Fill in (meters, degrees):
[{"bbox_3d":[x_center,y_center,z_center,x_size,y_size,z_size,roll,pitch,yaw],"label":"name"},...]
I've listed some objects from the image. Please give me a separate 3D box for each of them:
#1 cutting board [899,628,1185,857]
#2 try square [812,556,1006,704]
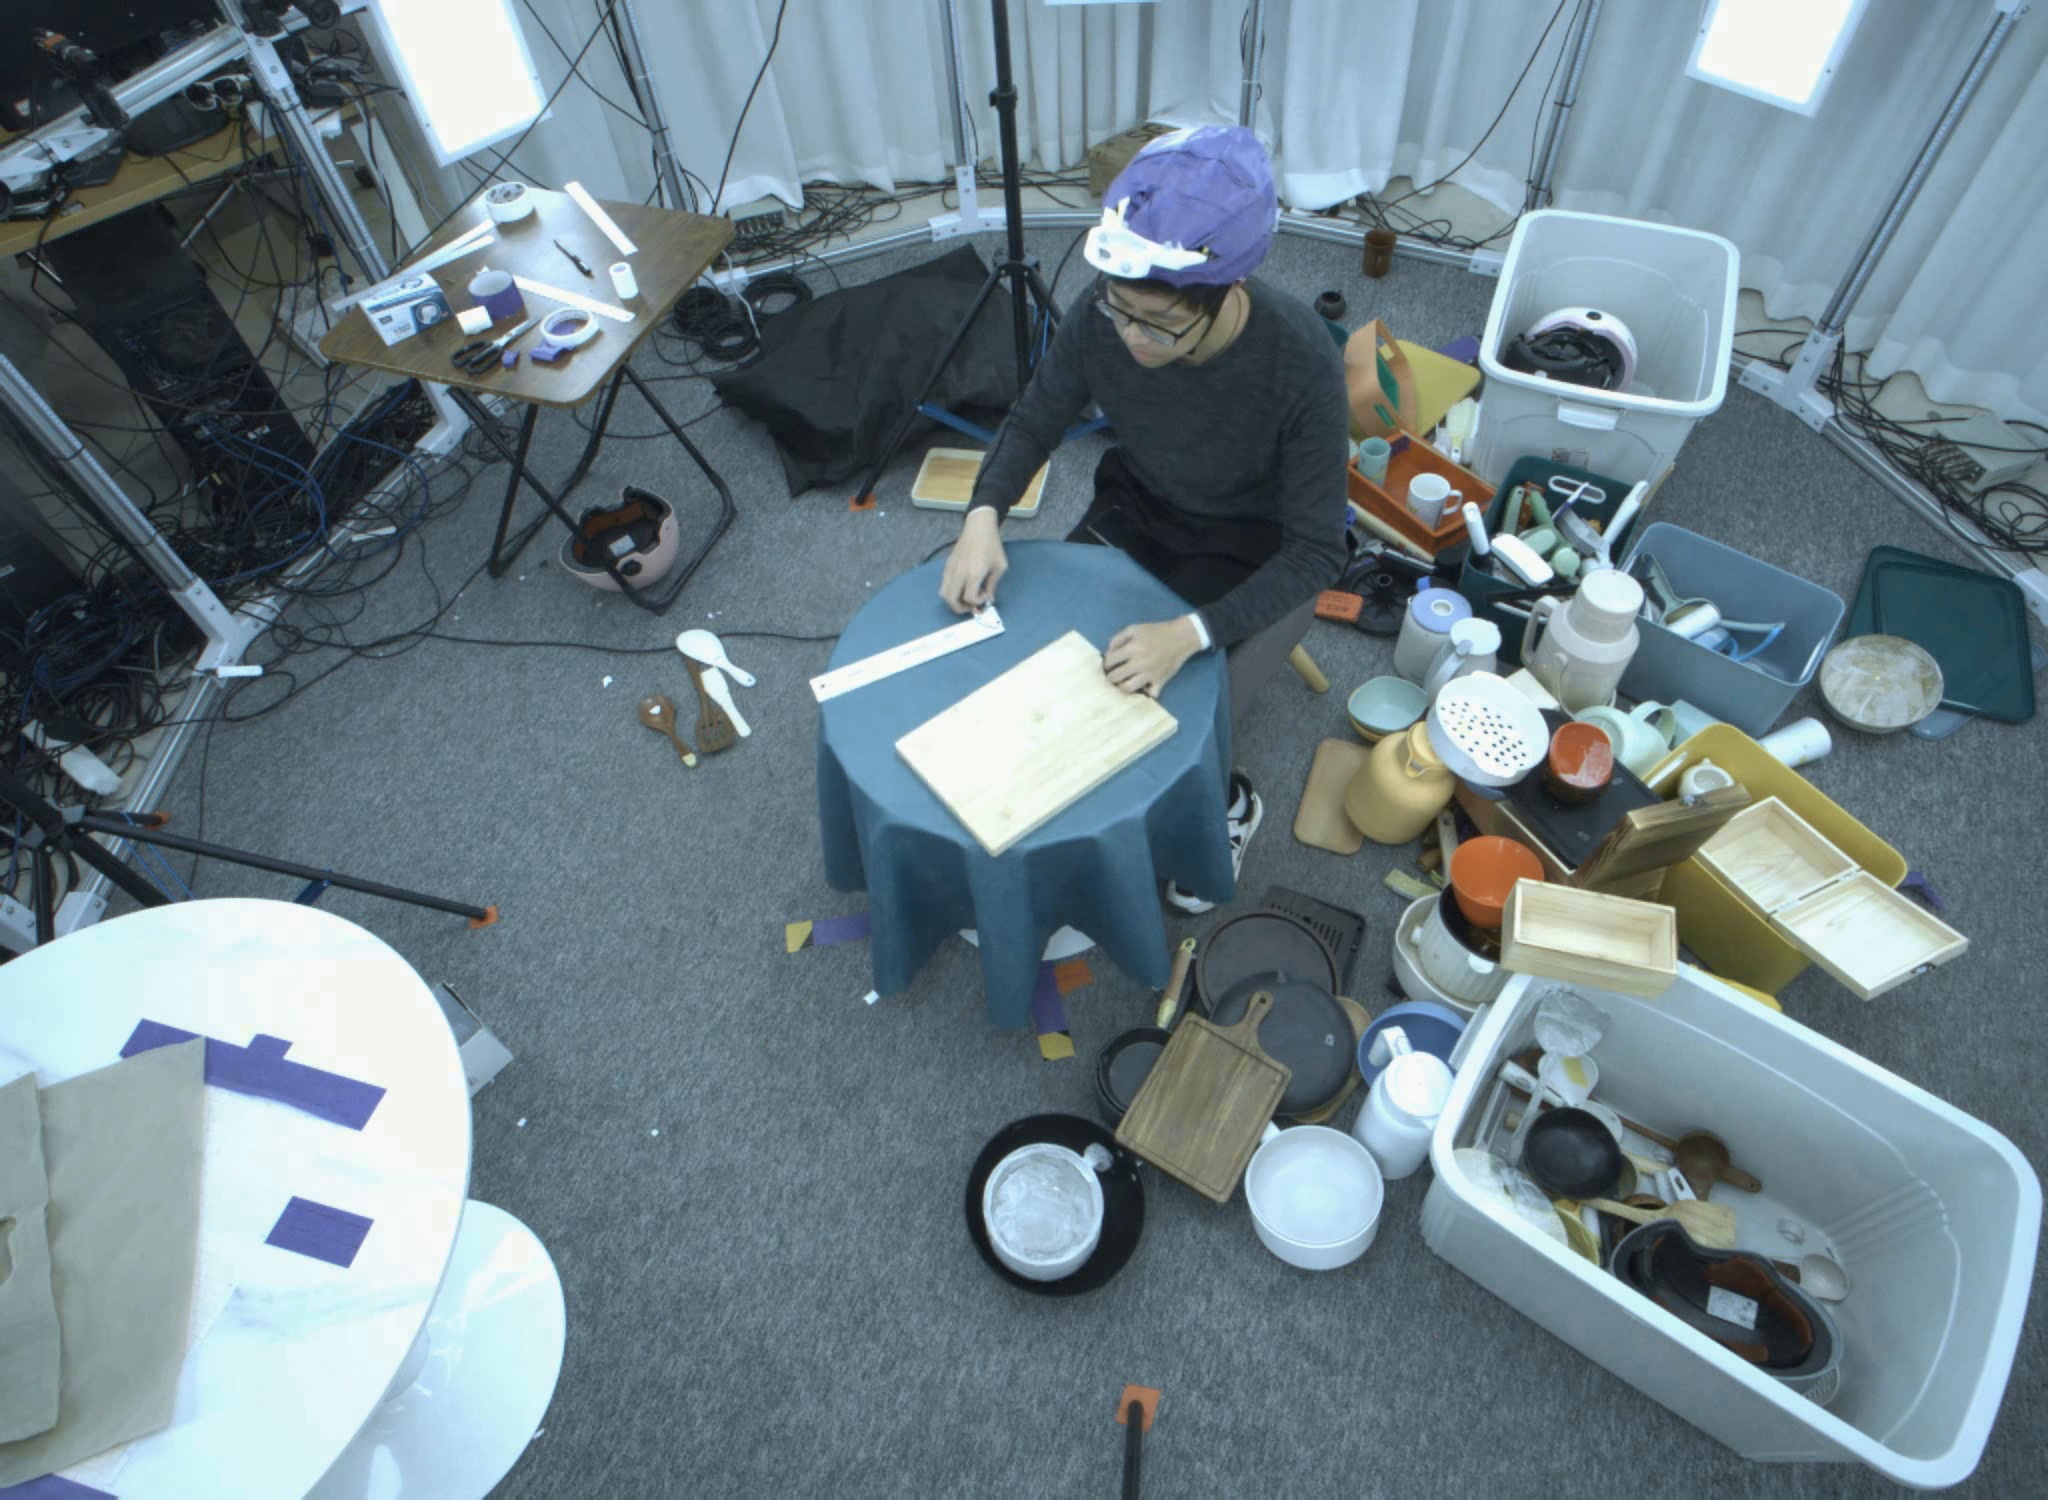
[{"bbox_3d":[0.024,-0.021,1.792,0.351,0.024,0.246,-35,61,-21],"label":"cutting board"},{"bbox_3d":[-0.198,-0.191,1.908,0.315,0.016,0.150,-23,68,-12],"label":"try square"}]
